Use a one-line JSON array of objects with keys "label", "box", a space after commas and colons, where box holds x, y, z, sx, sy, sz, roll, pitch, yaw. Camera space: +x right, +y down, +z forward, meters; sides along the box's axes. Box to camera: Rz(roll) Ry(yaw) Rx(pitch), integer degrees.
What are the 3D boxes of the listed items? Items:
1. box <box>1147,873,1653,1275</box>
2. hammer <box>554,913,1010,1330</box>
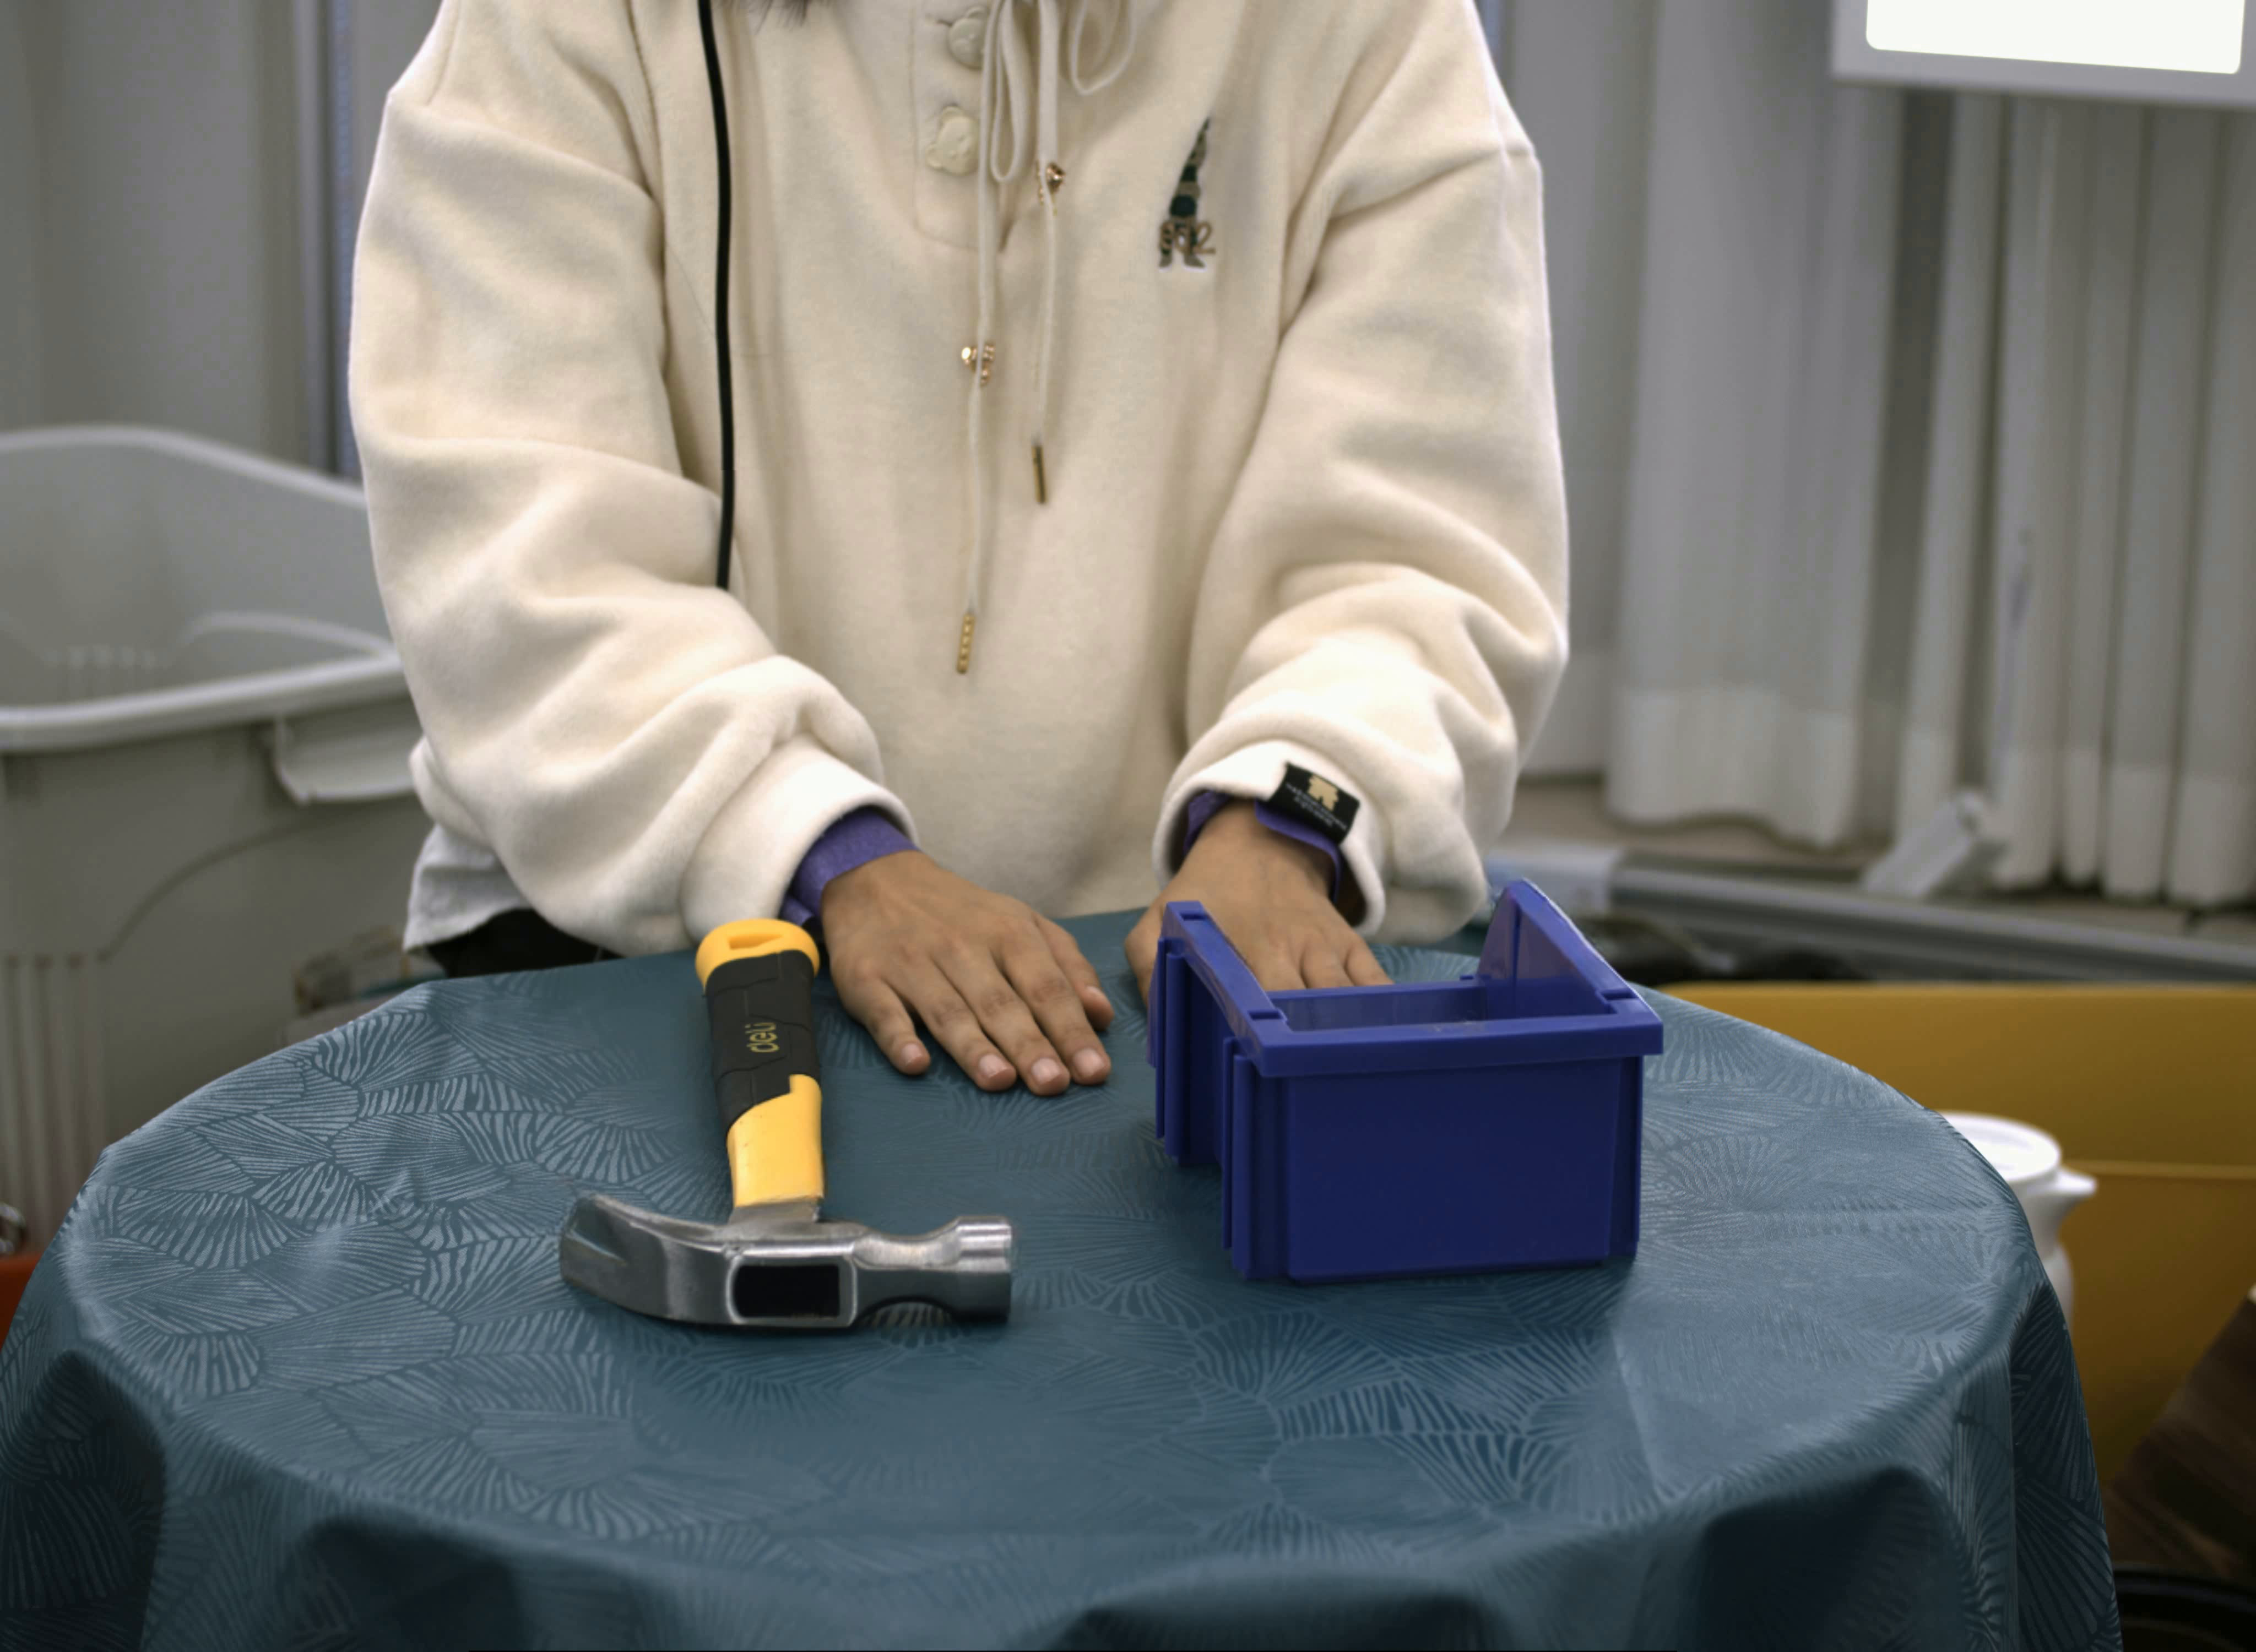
[{"label": "box", "box": [0.077, 0.072, 1.619, 0.124, 0.082, 0.178, -3, 18, -10]}, {"label": "hammer", "box": [-0.111, 0.086, 1.651, 0.131, 0.032, 0.336, -2, 16, -4]}]
